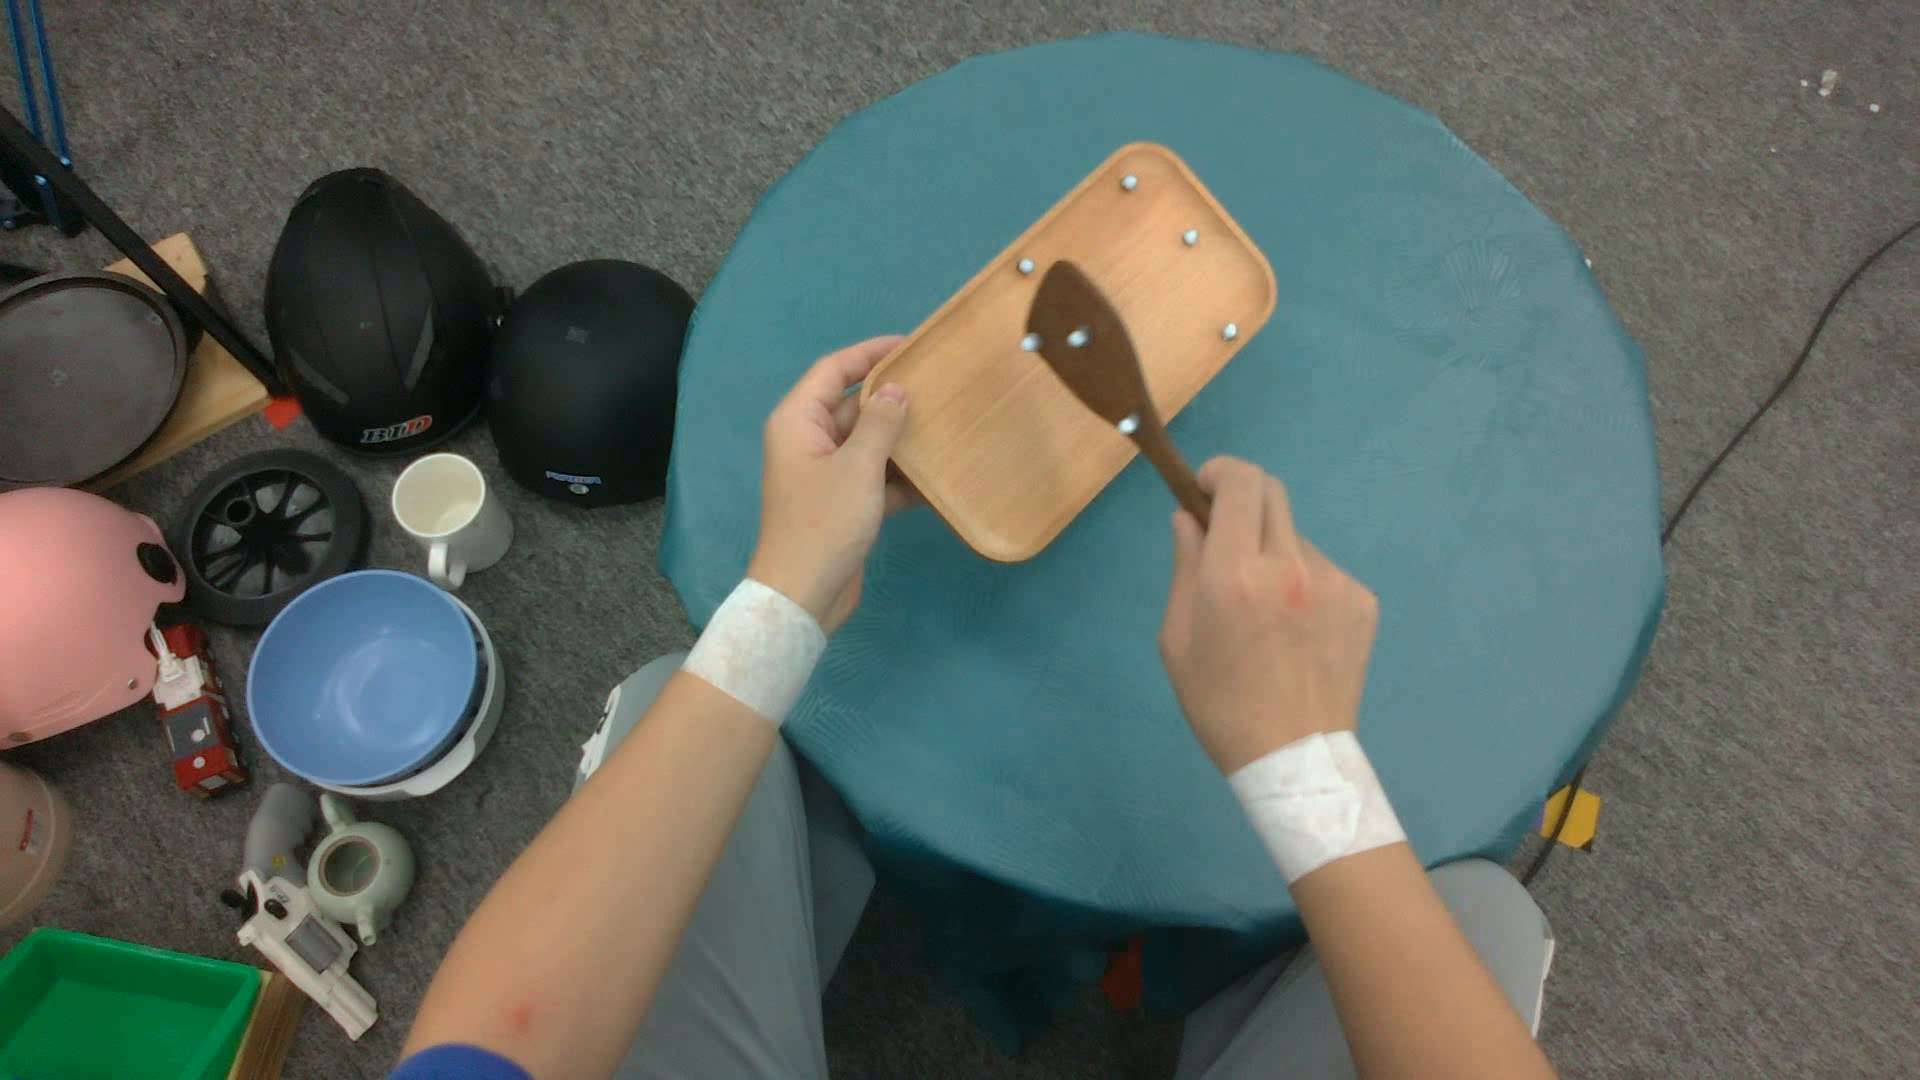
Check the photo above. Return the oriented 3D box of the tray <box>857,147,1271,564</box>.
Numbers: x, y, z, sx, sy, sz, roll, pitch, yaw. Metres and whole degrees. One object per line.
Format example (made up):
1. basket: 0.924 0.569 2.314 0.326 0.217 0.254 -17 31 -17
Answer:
1. tray: 0.062 -0.104 0.747 0.130 0.023 0.251 47 69 -2

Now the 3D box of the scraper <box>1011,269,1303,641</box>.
1. scraper: 0.095 -0.039 0.666 0.011 0.075 0.211 -32 78 -23
